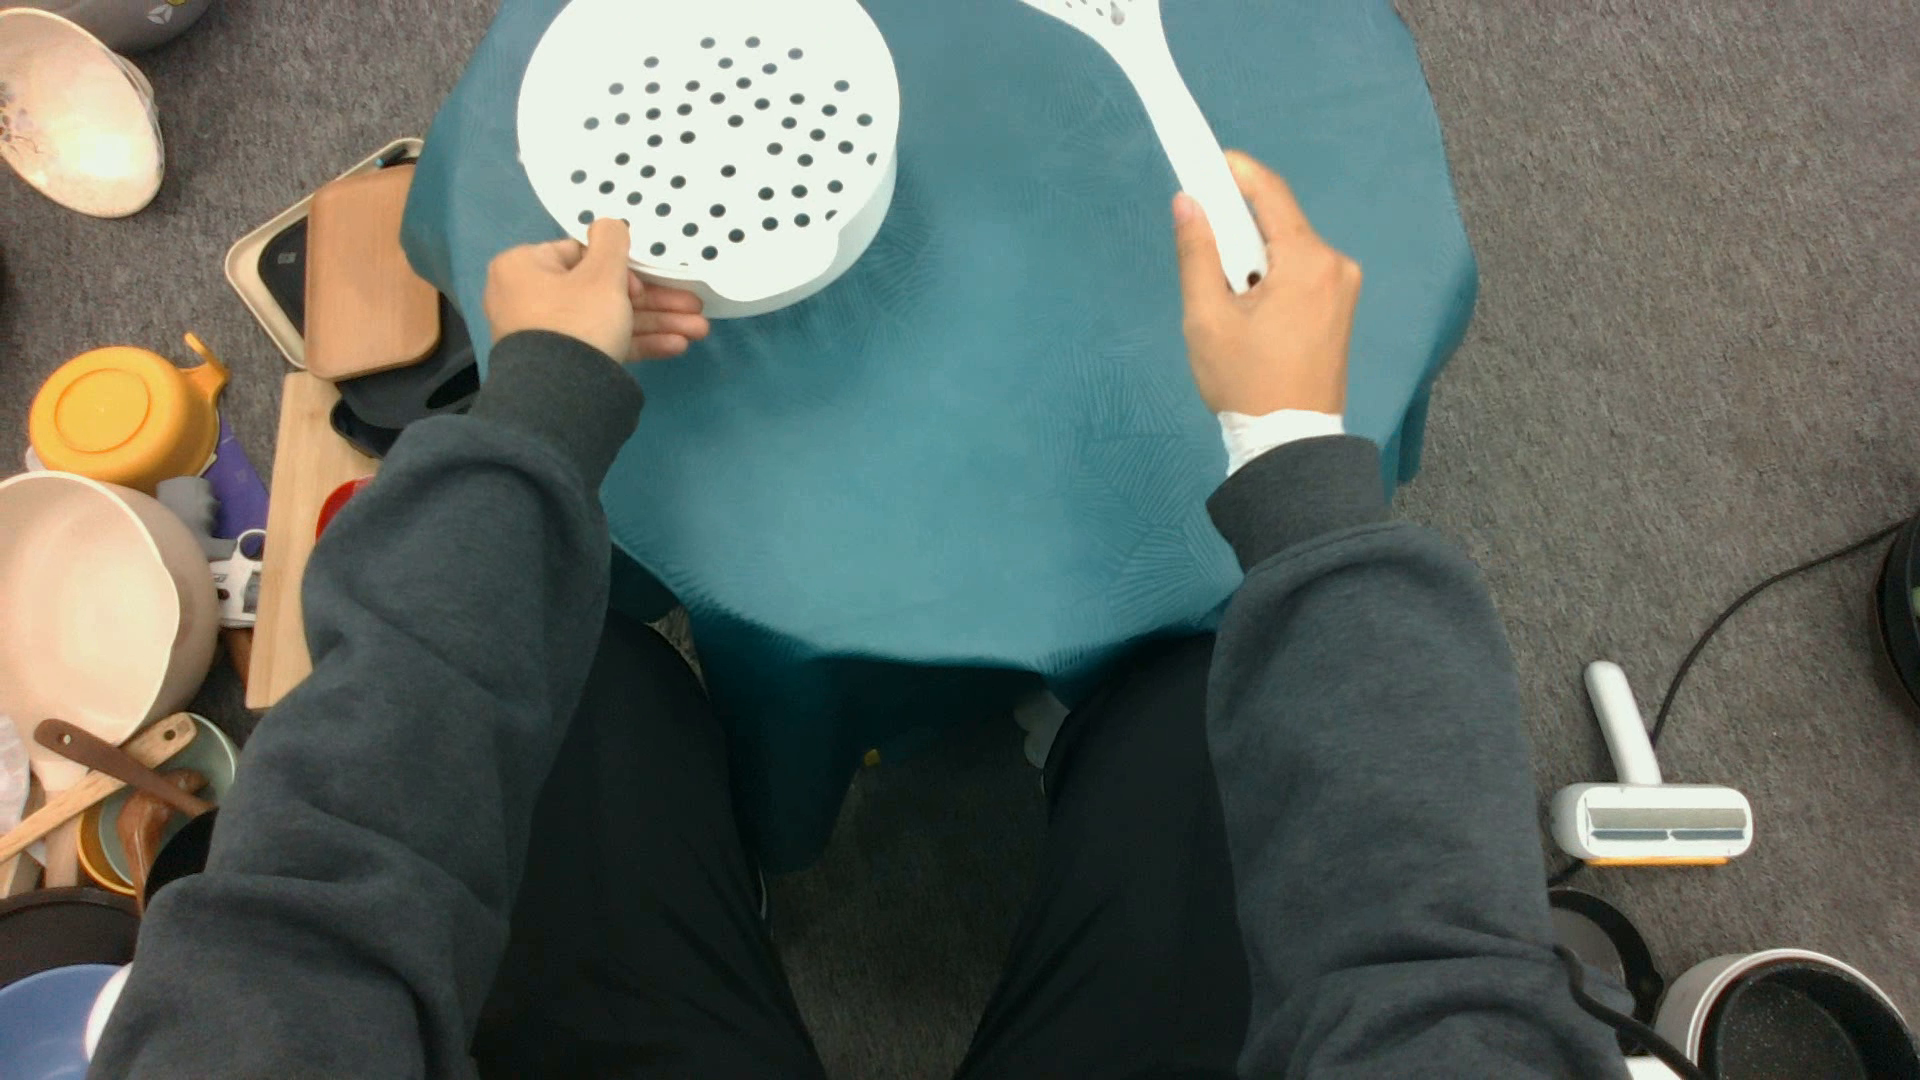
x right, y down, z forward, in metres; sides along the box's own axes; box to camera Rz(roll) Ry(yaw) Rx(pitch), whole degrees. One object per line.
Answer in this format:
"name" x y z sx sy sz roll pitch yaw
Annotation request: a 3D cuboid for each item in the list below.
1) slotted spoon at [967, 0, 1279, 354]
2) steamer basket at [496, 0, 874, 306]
"slotted spoon" 0.072 -0.248 0.701 0.137 0.050 0.348 -24 75 -8
"steamer basket" -0.147 -0.225 0.764 0.202 0.069 0.231 -22 70 -9
